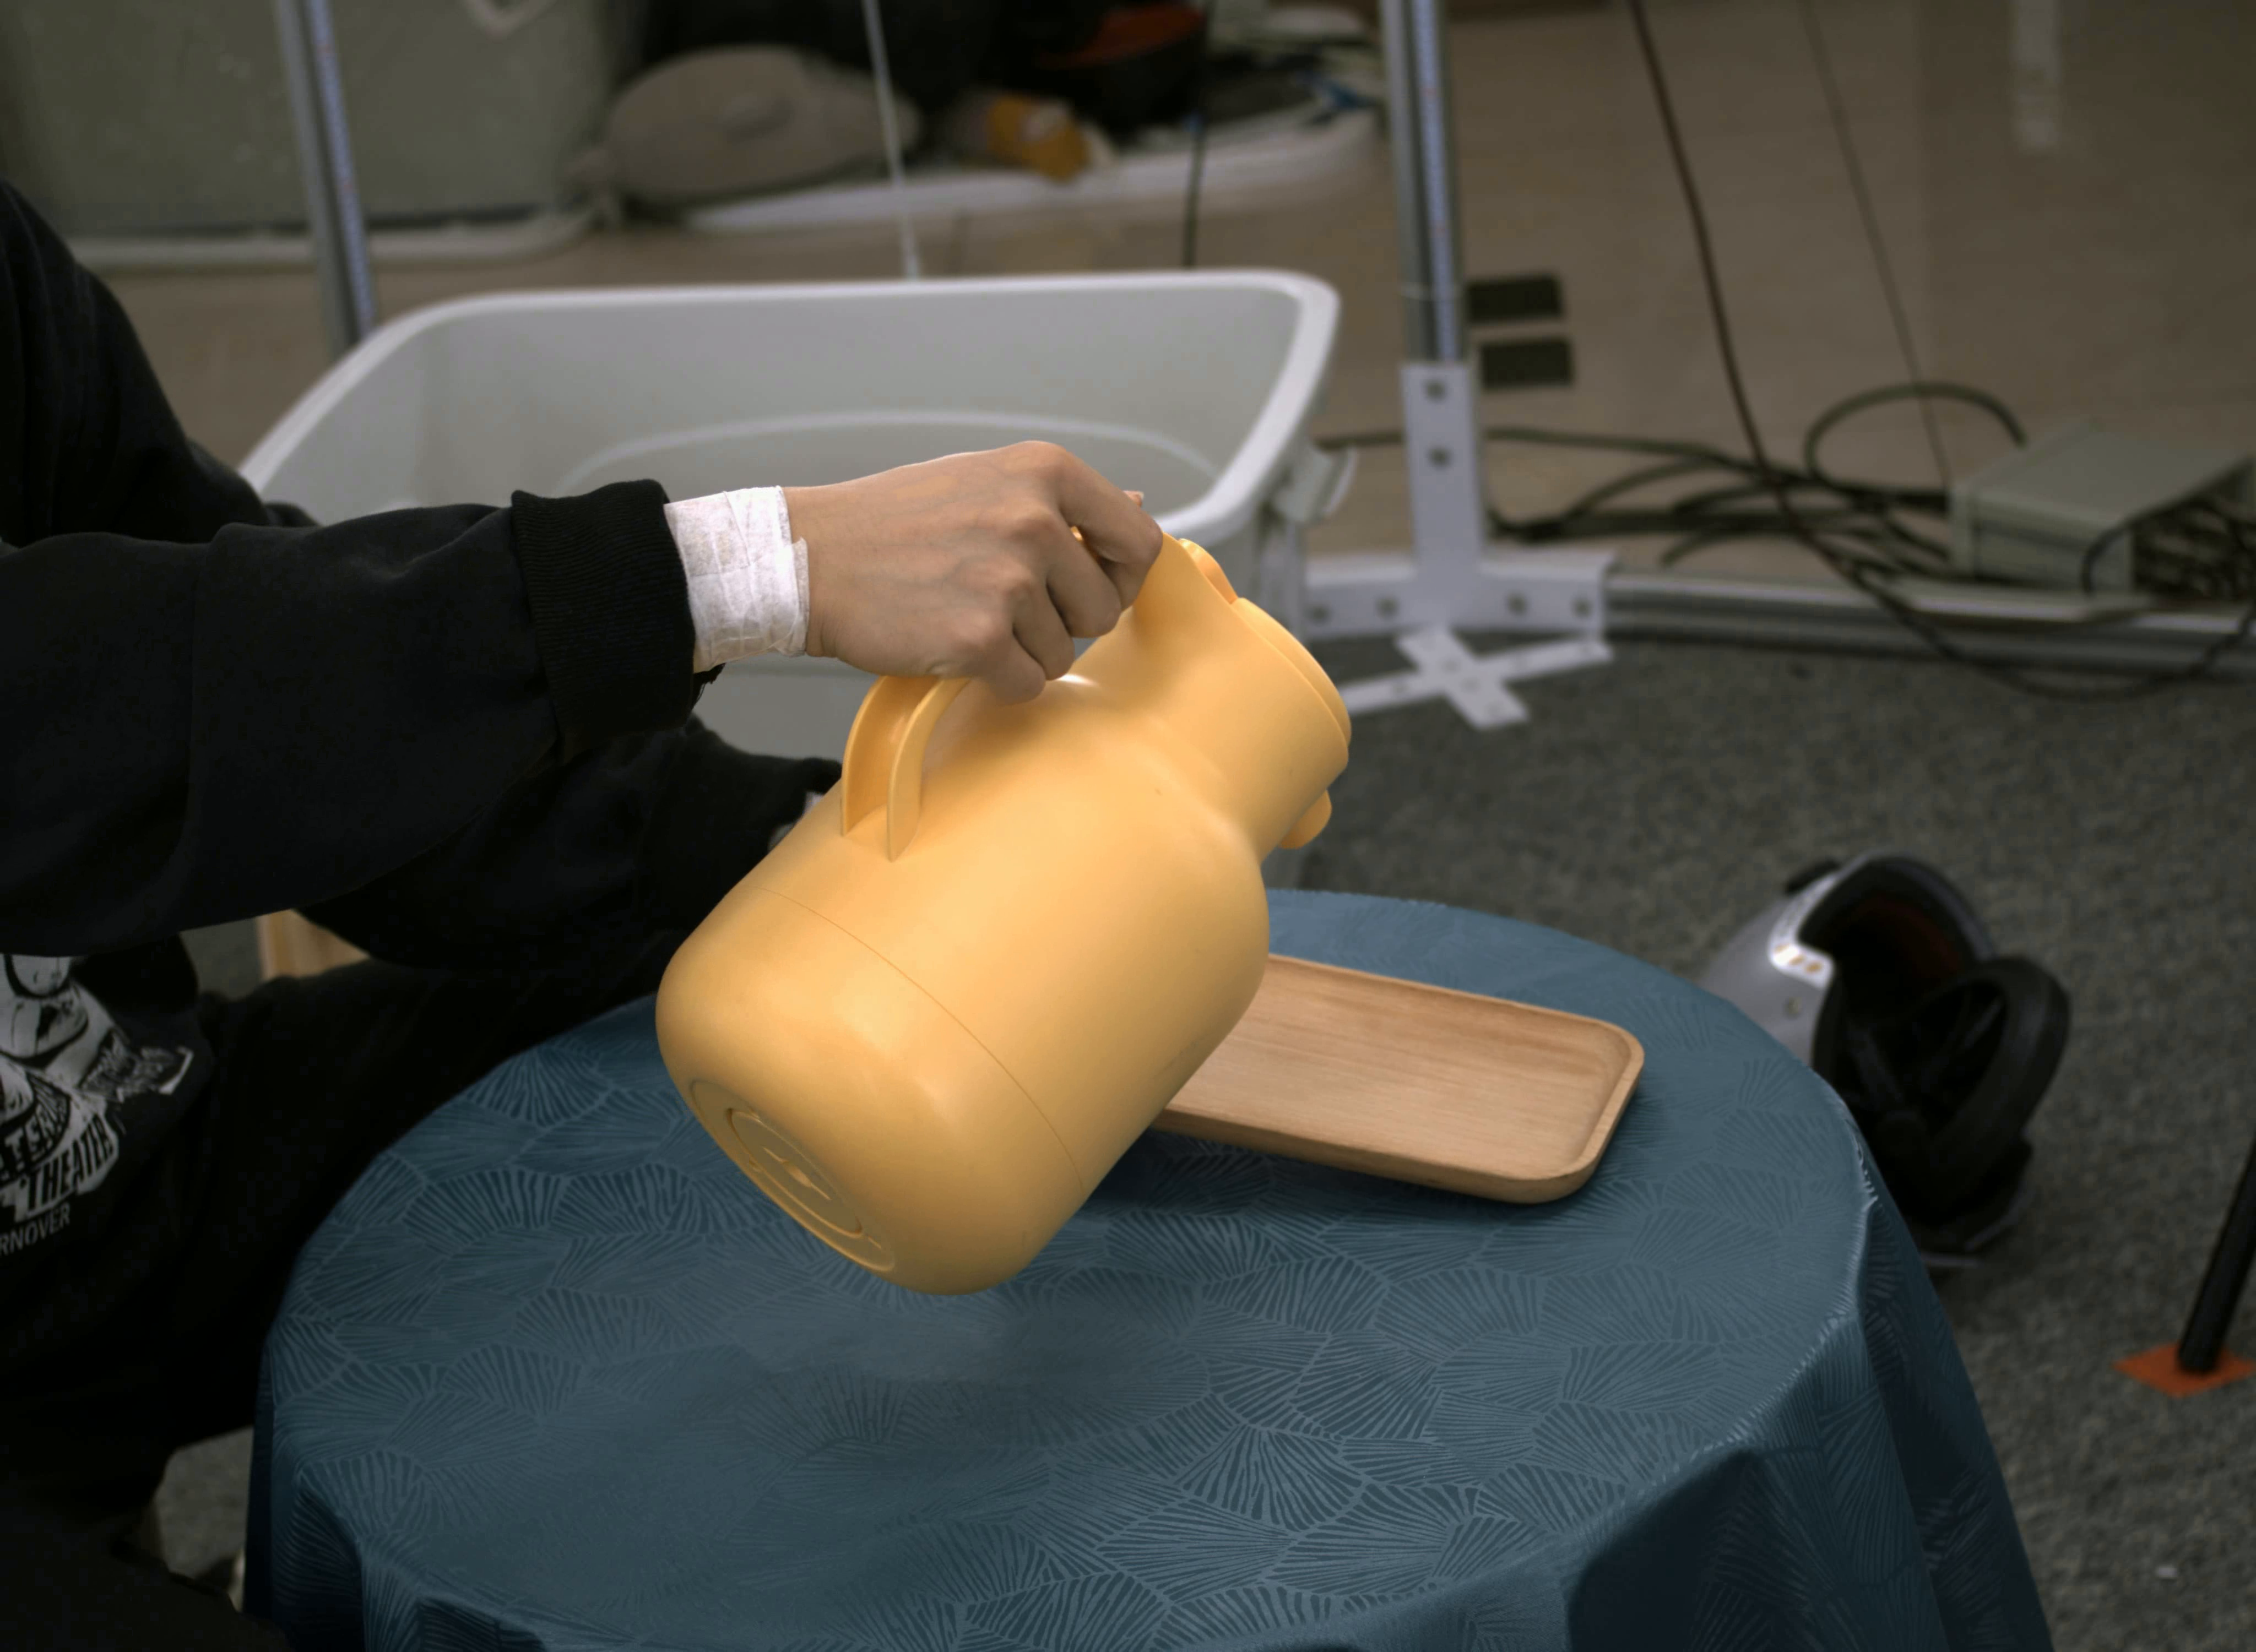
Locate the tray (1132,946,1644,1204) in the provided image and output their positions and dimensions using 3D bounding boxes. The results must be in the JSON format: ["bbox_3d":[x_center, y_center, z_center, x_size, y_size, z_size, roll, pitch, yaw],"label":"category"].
[{"bbox_3d":[0.067,0.089,2.175,0.250,0.023,0.129,11,27,16],"label":"tray"}]

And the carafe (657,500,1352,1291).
[{"bbox_3d":[-0.041,0.014,1.968,0.162,0.206,0.258,24,64,42],"label":"carafe"}]
